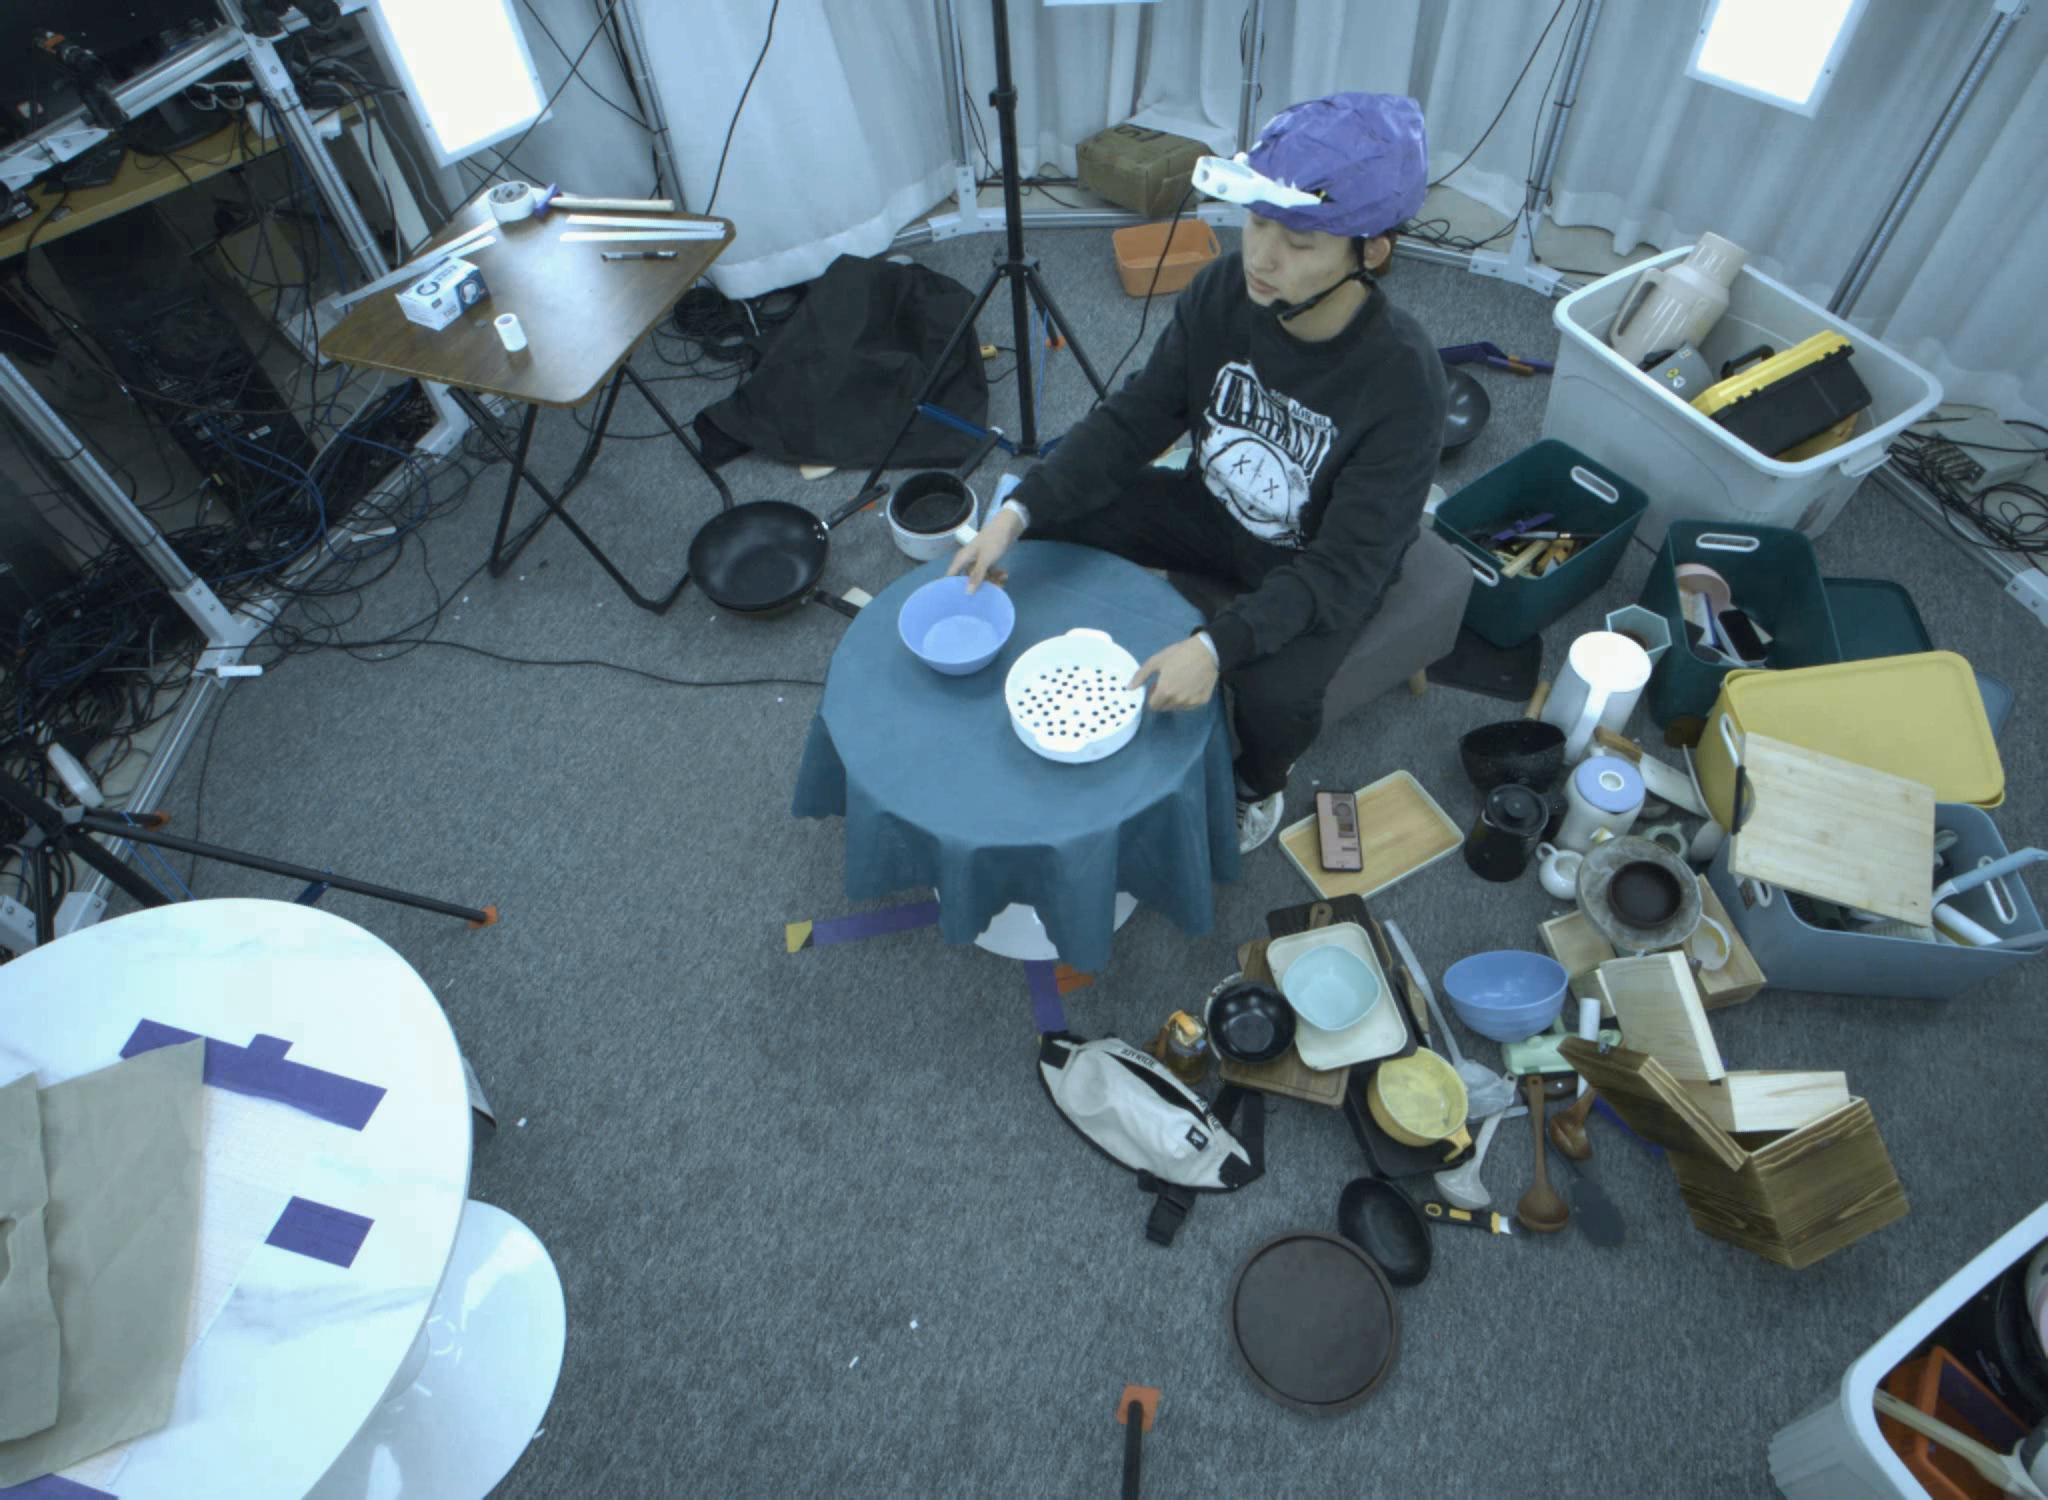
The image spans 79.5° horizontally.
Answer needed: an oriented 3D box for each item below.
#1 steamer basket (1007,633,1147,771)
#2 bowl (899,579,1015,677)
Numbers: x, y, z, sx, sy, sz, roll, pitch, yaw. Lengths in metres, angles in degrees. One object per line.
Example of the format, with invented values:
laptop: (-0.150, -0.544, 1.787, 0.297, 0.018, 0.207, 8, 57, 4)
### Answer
steamer basket: (0.078, -0.065, 1.799, 0.201, 0.070, 0.229, 9, 58, 8)
bowl: (-0.100, -0.177, 1.882, 0.176, 0.071, 0.174, 0, 55, 1)
